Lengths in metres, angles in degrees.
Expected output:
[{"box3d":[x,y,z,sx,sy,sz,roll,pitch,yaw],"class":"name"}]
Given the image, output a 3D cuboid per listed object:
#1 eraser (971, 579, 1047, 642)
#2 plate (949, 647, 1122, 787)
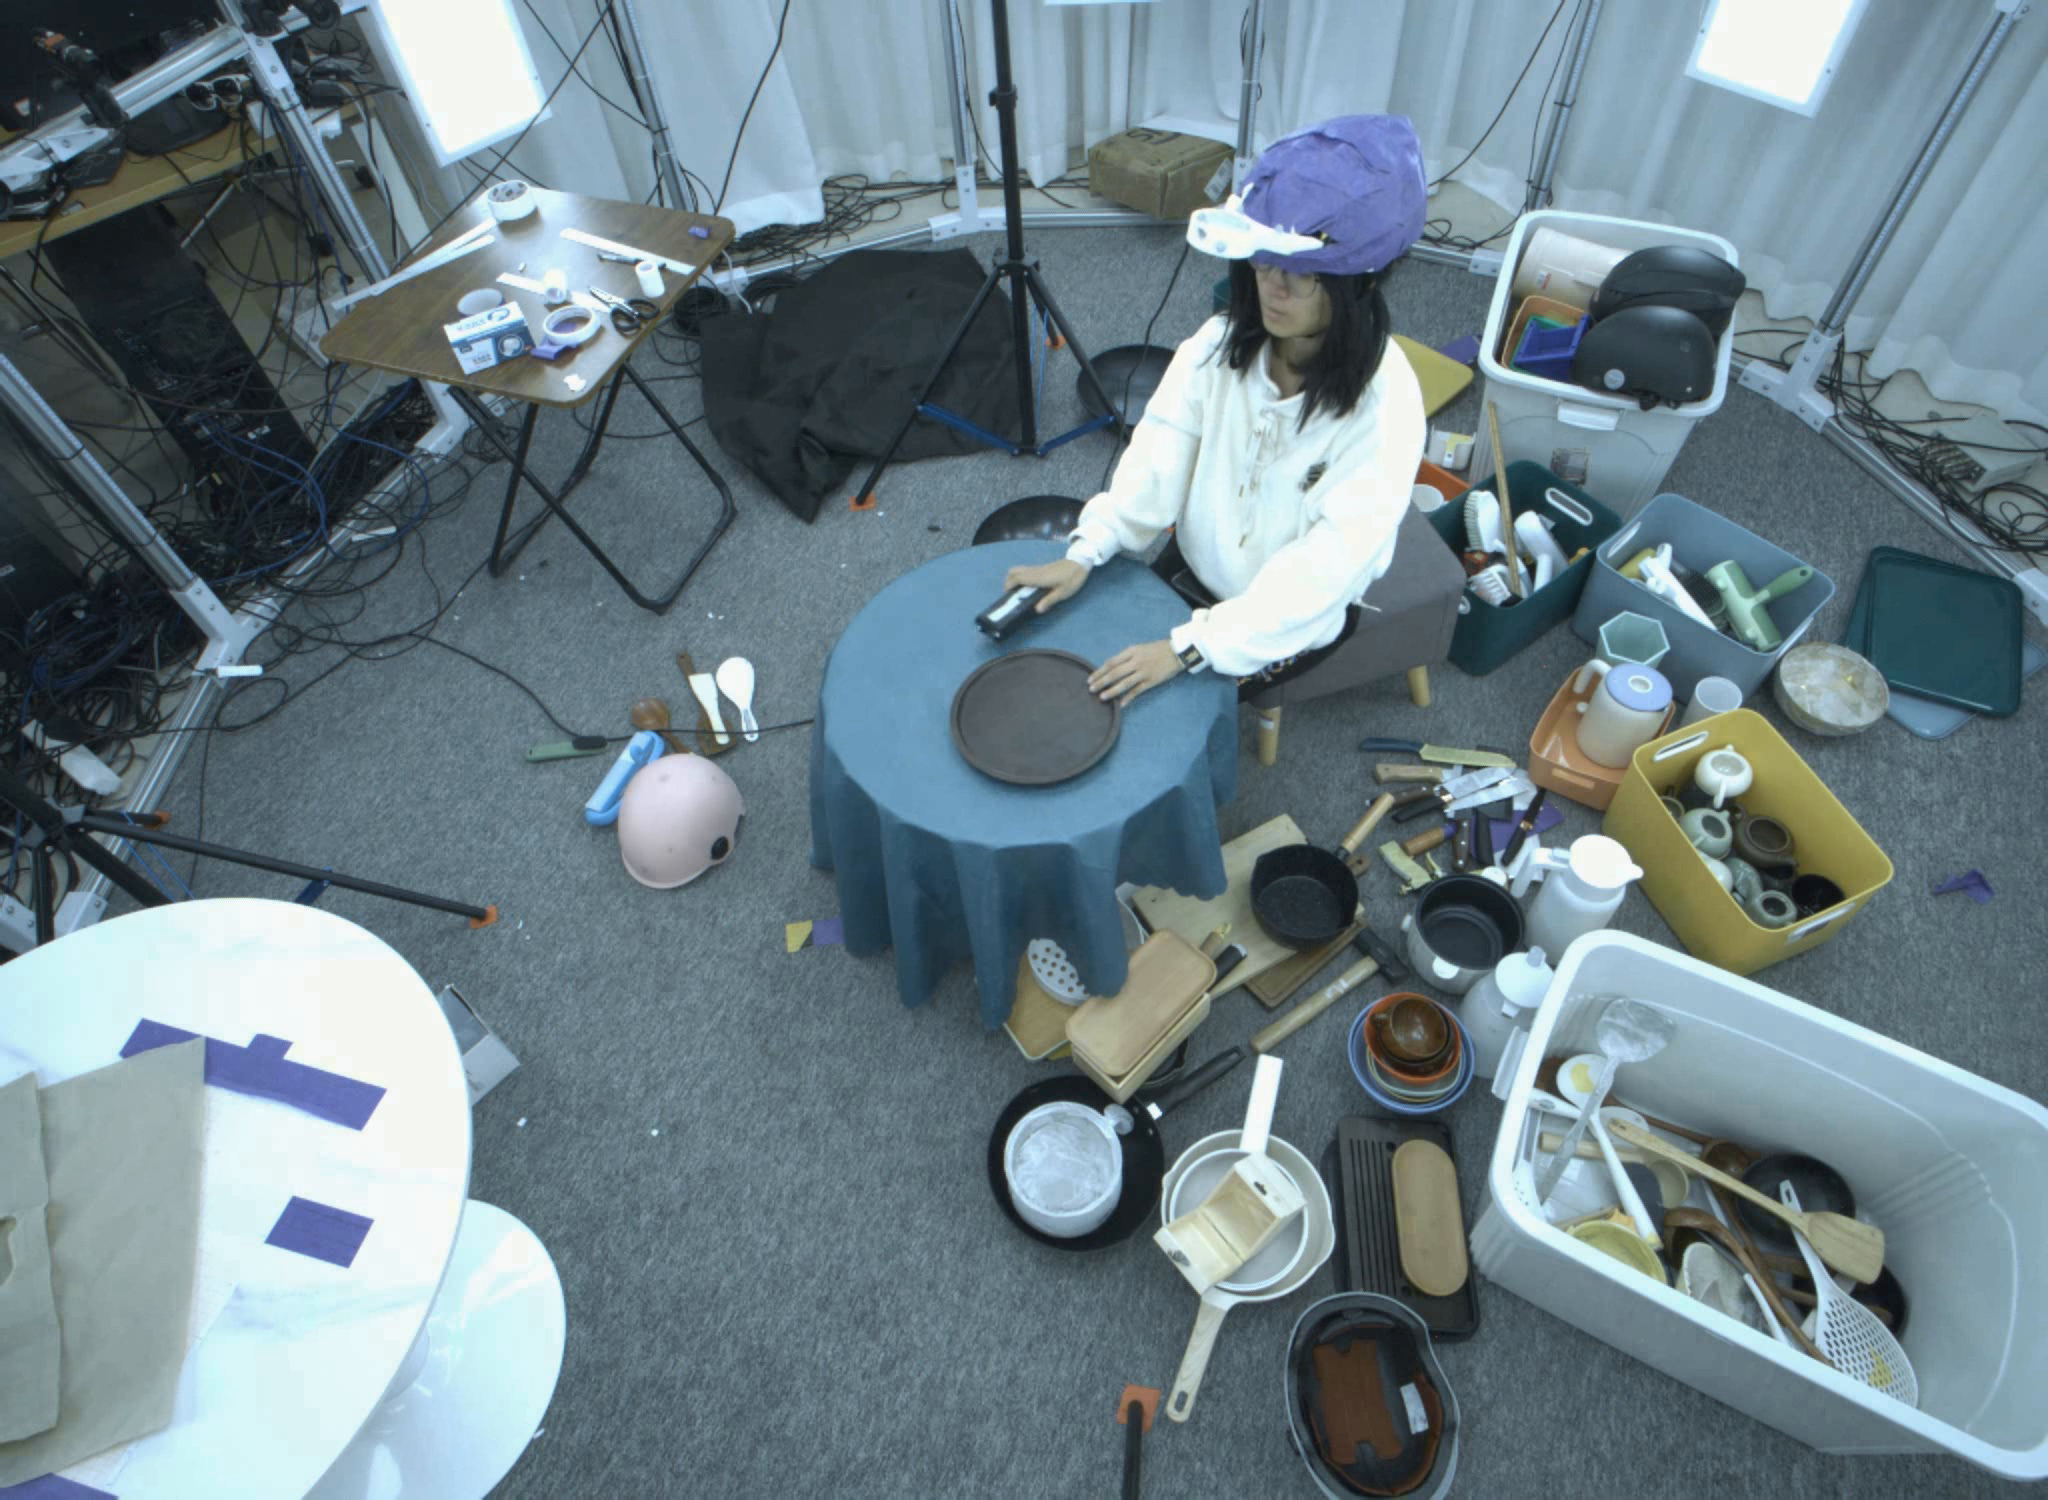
[{"box3d":[-0.023,-0.217,1.902,0.052,0.031,0.126,32,53,23],"class":"eraser"},{"box3d":[0.017,-0.049,1.807,0.254,0.029,0.252,-1,56,3],"class":"plate"}]
